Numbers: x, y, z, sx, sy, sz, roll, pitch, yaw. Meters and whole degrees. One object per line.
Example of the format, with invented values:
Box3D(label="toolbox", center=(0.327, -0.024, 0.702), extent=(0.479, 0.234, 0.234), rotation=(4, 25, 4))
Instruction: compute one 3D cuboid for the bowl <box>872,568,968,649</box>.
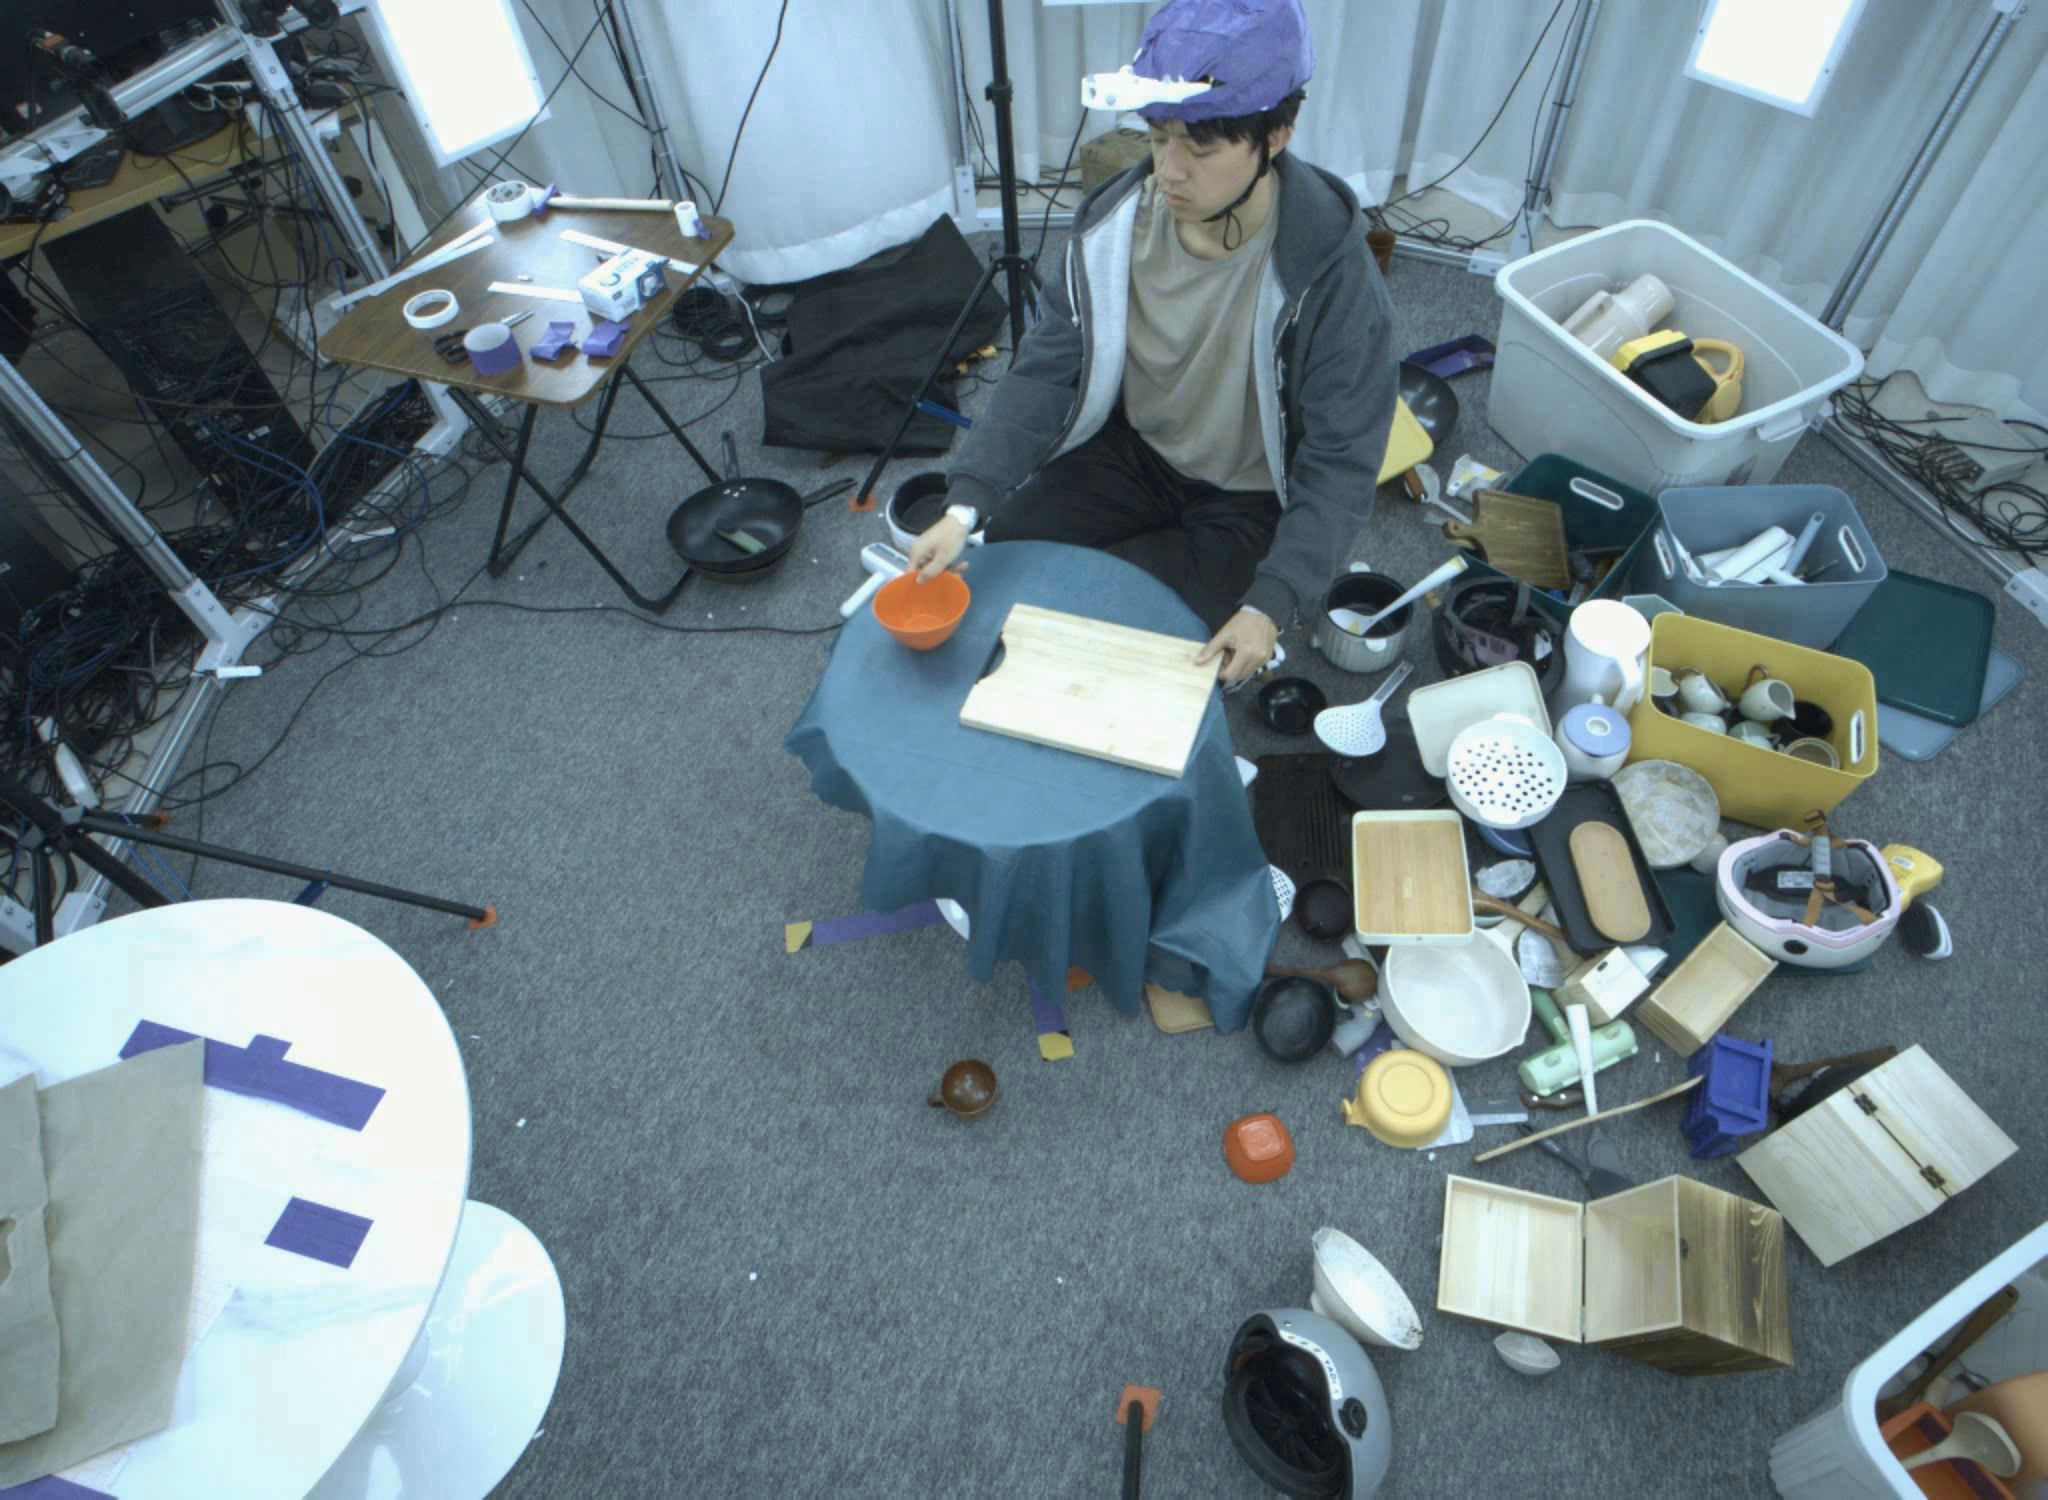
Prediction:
Box3D(label="bowl", center=(-0.155, -0.203, 1.875), extent=(0.148, 0.106, 0.146), rotation=(0, 58, 2))

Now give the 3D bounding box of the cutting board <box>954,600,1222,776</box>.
Box3D(label="cutting board", center=(0.098, -0.099, 1.843), extent=(0.345, 0.024, 0.250), rotation=(14, 56, 13))
